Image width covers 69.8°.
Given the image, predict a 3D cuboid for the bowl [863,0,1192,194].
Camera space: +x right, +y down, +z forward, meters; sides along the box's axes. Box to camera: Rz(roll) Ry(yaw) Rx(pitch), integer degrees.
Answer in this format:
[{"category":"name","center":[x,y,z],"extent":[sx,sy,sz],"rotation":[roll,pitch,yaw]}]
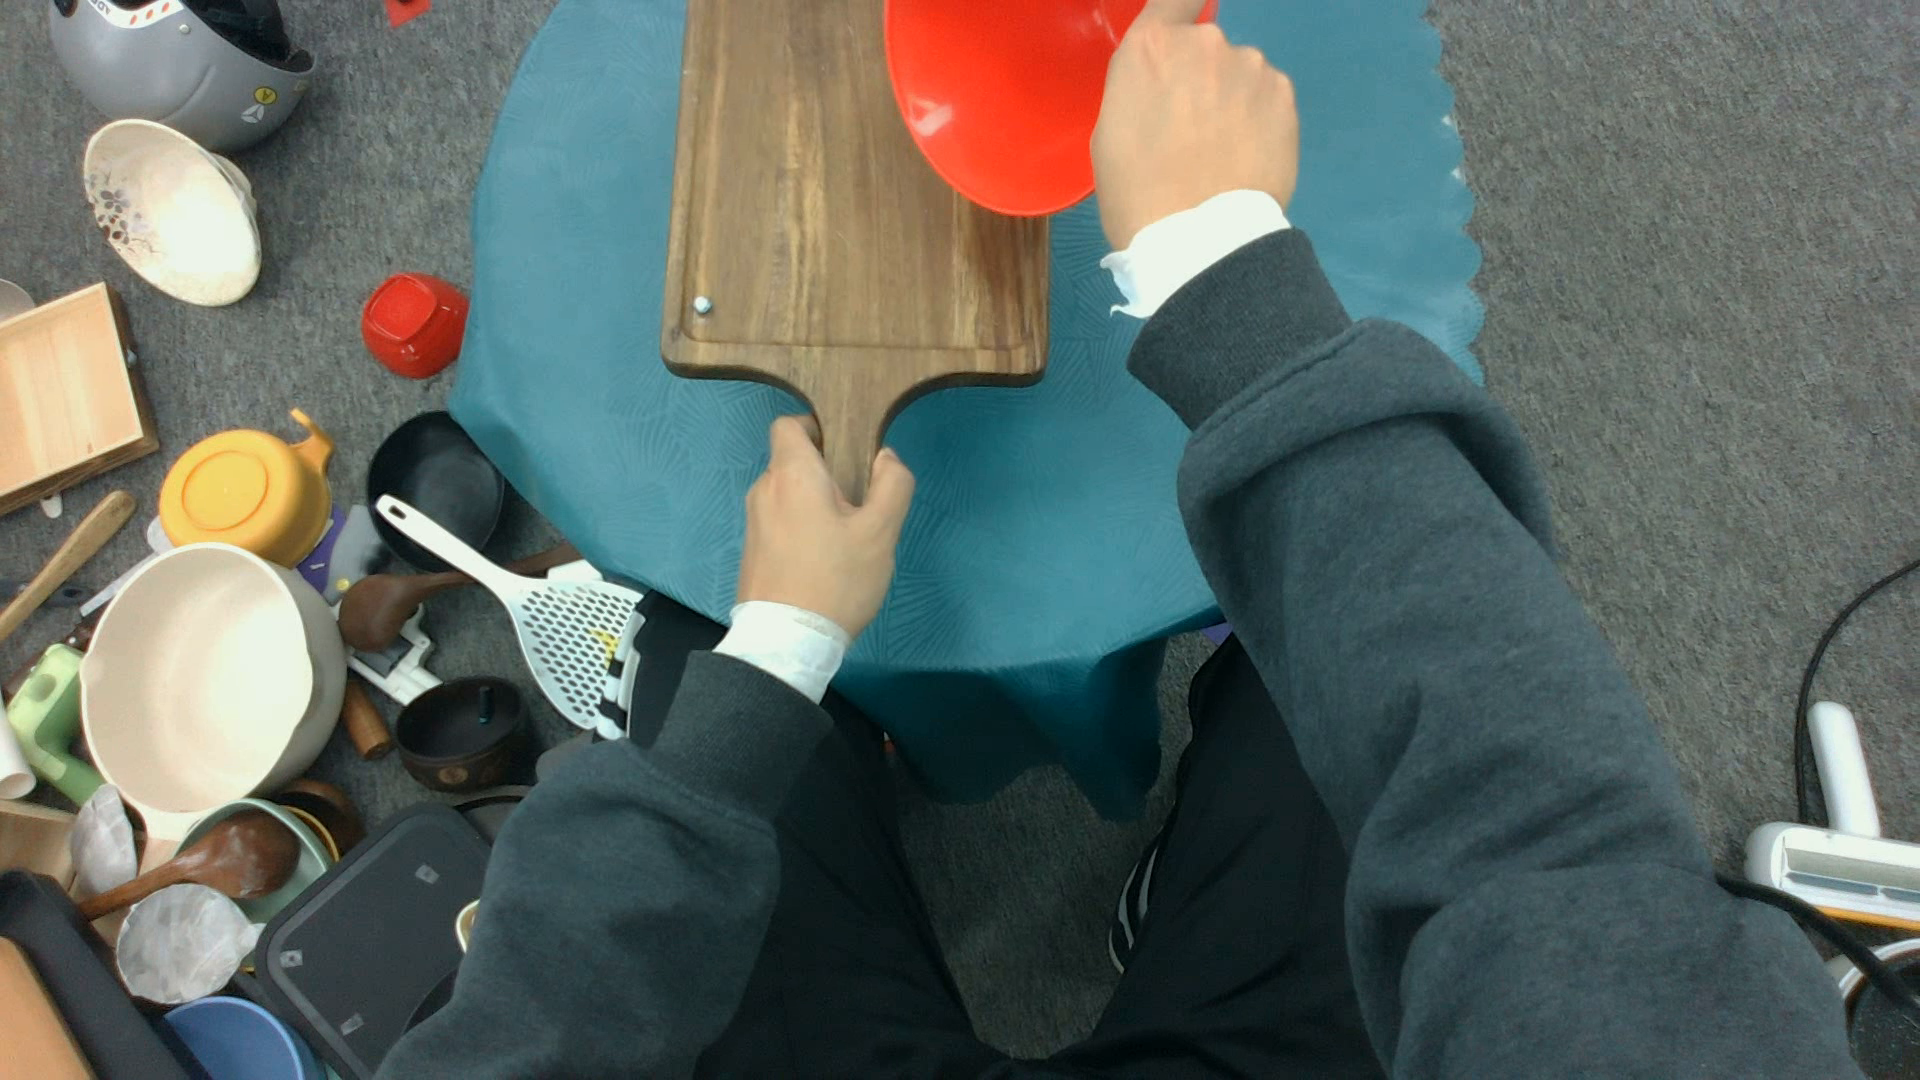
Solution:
[{"category":"bowl","center":[0.041,-0.243,0.628],"extent":[0.105,0.147,0.148],"rotation":[-29,71,-34]}]

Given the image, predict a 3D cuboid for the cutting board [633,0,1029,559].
[{"category":"cutting board","center":[-0.065,-0.162,0.712],"extent":[0.201,0.023,0.353],"rotation":[1,74,-2]}]
